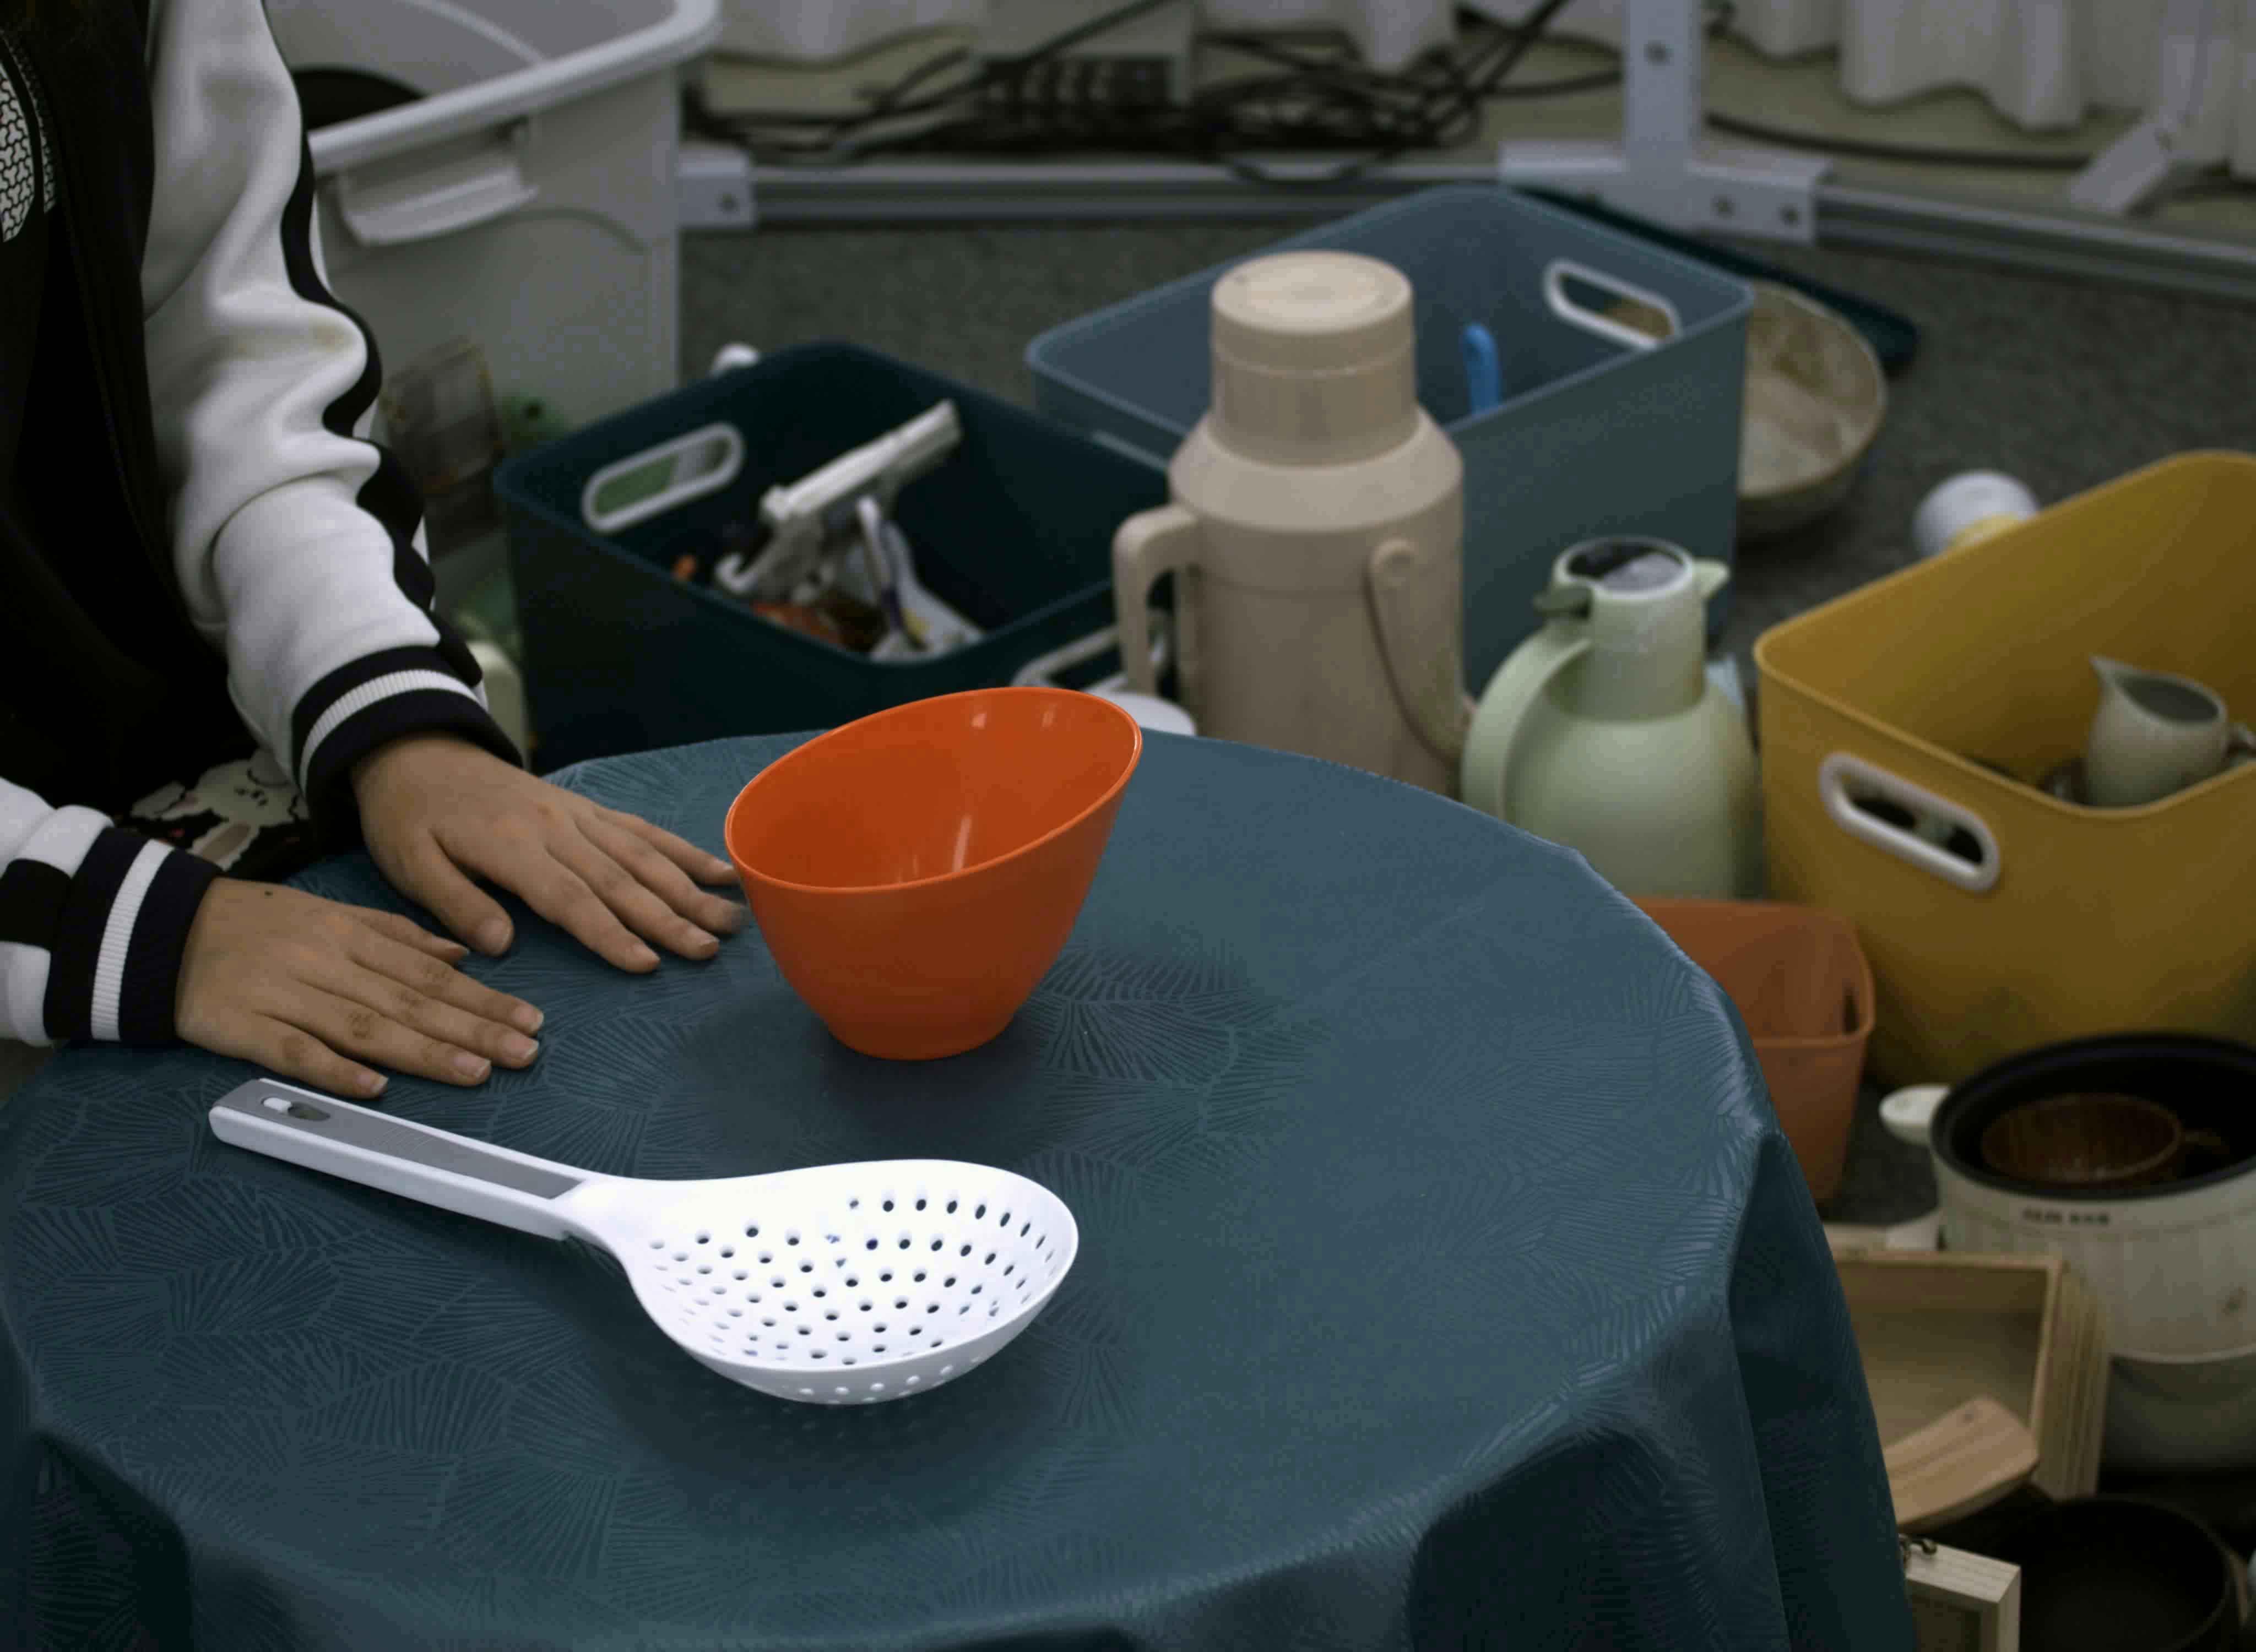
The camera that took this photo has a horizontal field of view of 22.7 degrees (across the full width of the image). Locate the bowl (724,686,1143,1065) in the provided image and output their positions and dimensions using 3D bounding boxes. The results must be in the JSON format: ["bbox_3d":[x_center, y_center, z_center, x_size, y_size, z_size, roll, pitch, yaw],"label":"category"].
[{"bbox_3d":[-0.064,0.023,1.950,0.147,0.103,0.150,-4,29,2],"label":"bowl"}]

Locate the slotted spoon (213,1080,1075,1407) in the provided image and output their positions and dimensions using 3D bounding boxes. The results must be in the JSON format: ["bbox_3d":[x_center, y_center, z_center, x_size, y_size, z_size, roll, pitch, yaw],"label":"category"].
[{"bbox_3d":[-0.168,0.126,1.821,0.348,0.045,0.138,16,31,34],"label":"slotted spoon"}]
